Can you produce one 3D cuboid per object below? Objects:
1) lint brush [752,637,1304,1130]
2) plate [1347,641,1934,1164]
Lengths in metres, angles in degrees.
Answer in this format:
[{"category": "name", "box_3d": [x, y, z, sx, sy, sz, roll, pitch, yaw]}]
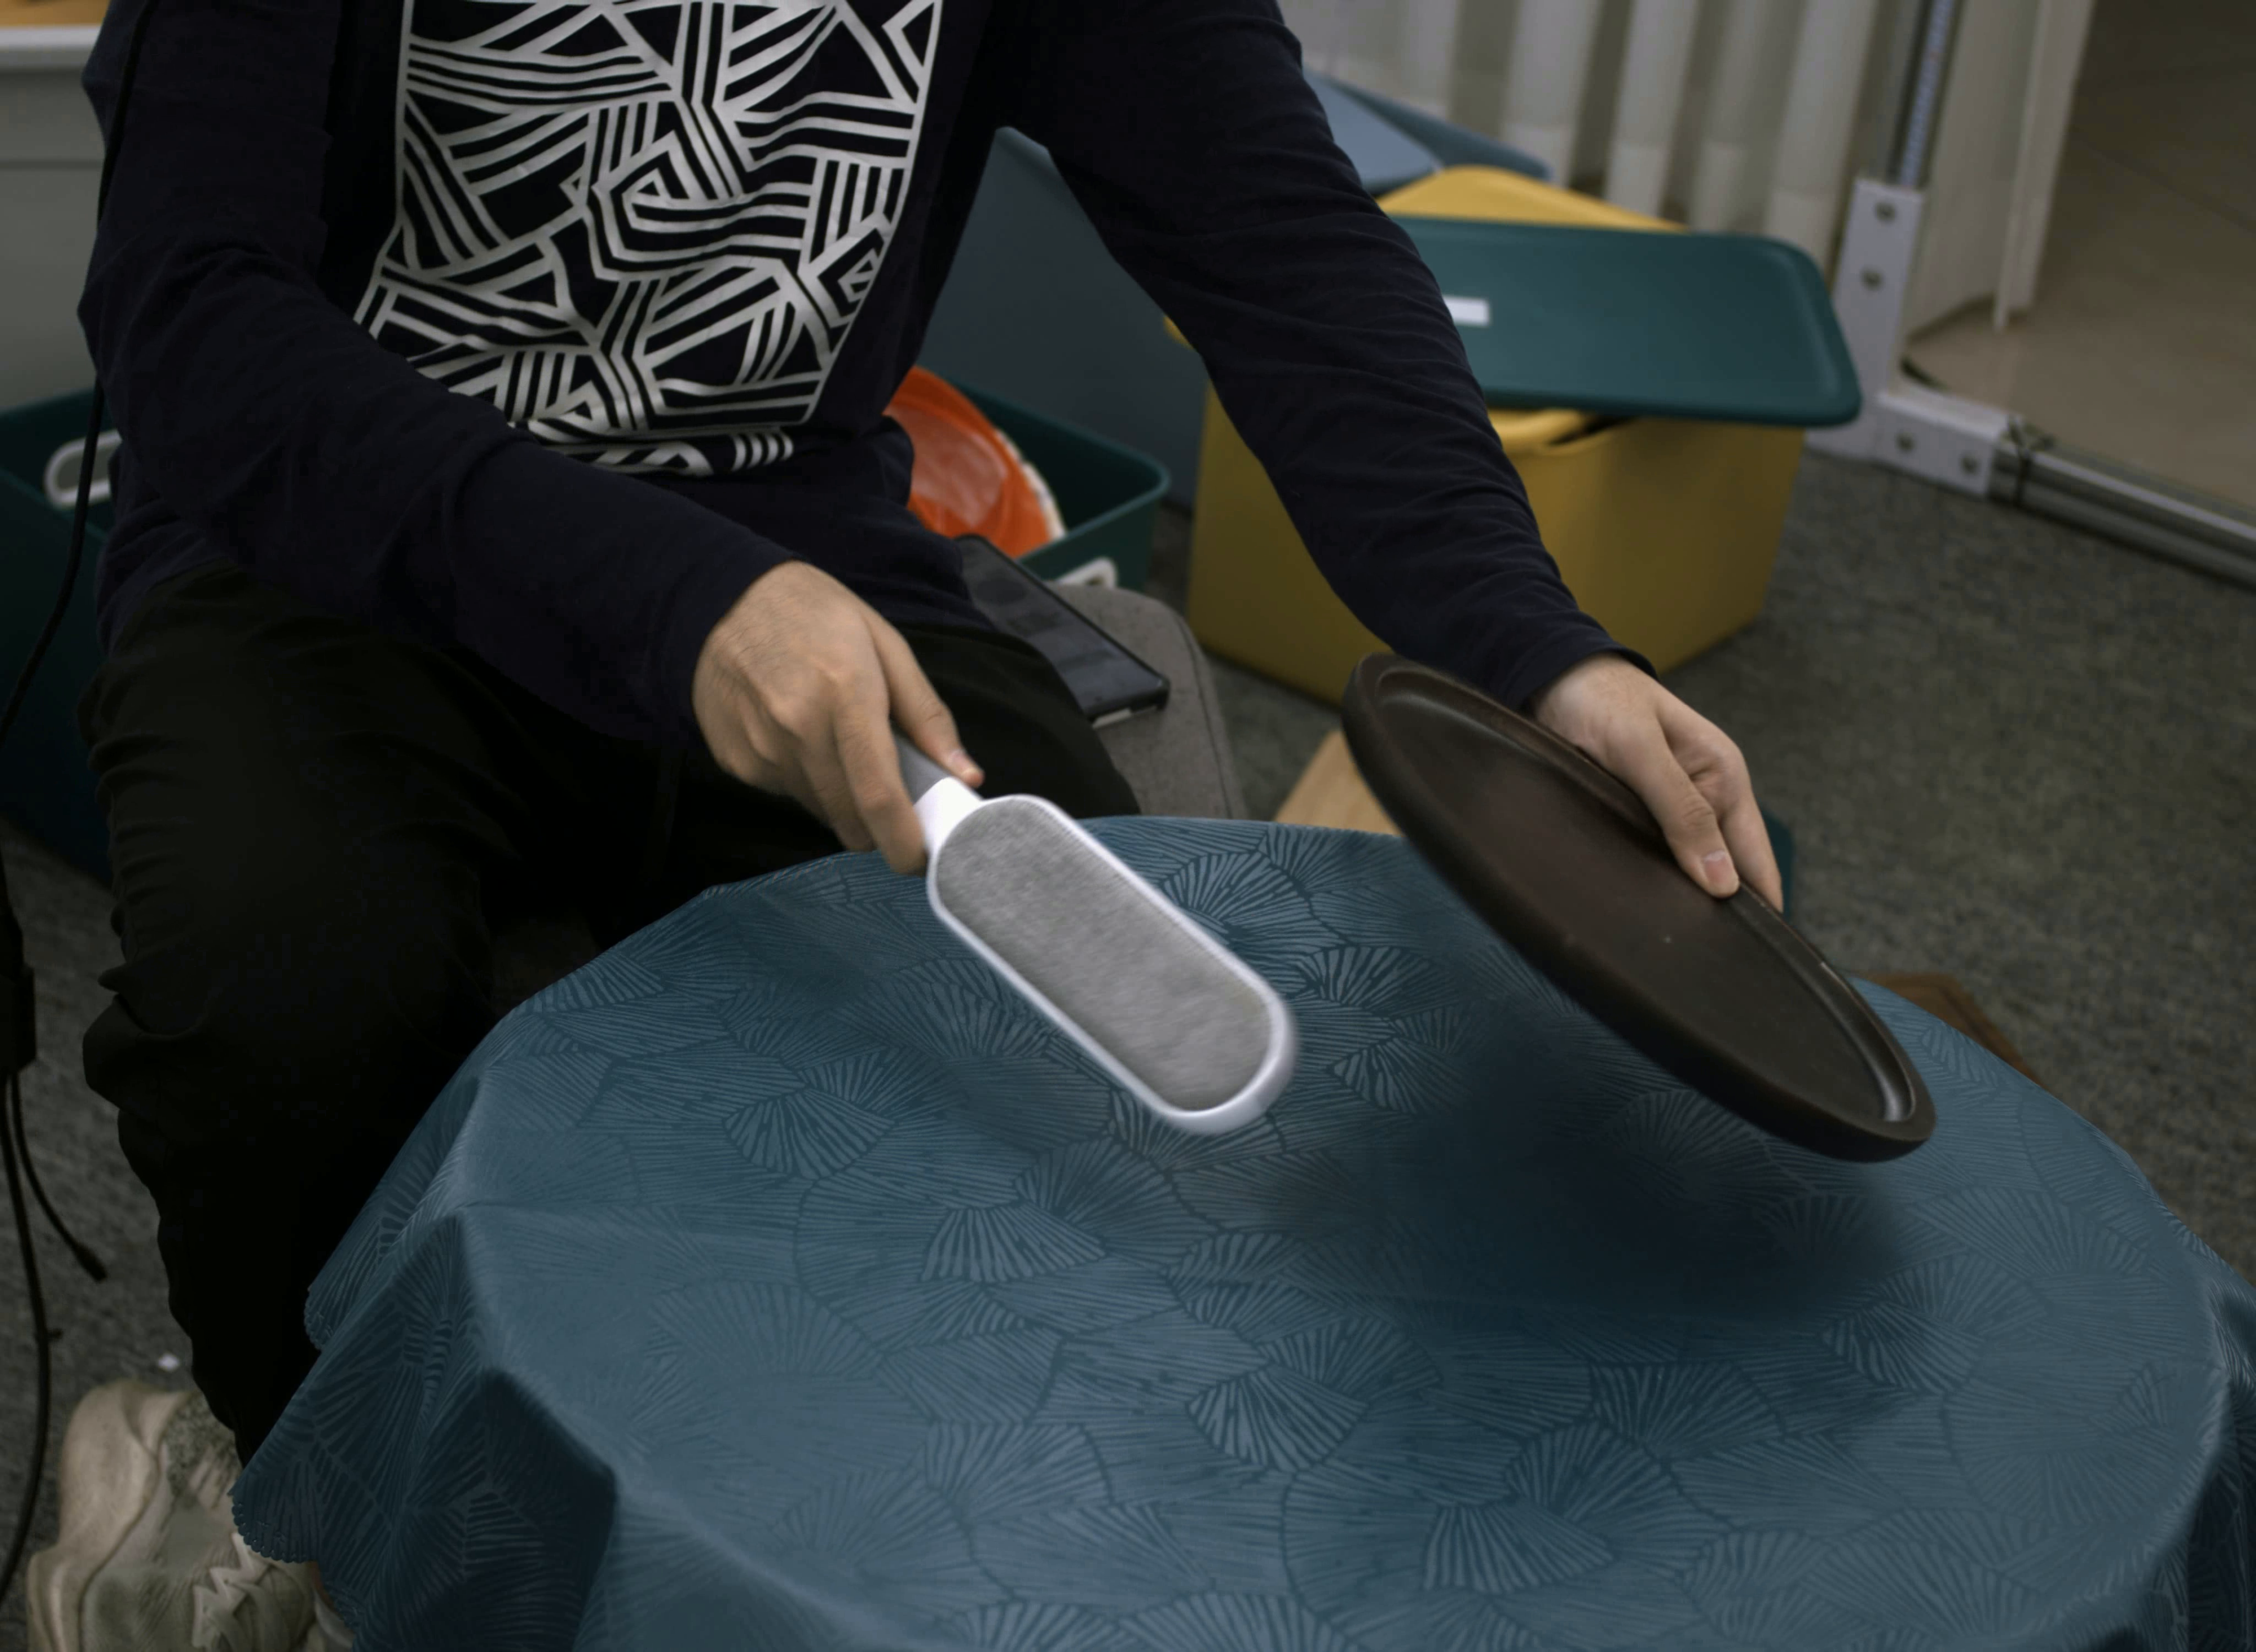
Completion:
[{"category": "lint brush", "box_3d": [-0.041, 0.012, 1.863, 0.311, 0.060, 0.021, 40, 0, 40]}, {"category": "plate", "box_3d": [0.172, 0.026, 1.809, 0.254, 0.029, 0.256, 38, 13, -11]}]
